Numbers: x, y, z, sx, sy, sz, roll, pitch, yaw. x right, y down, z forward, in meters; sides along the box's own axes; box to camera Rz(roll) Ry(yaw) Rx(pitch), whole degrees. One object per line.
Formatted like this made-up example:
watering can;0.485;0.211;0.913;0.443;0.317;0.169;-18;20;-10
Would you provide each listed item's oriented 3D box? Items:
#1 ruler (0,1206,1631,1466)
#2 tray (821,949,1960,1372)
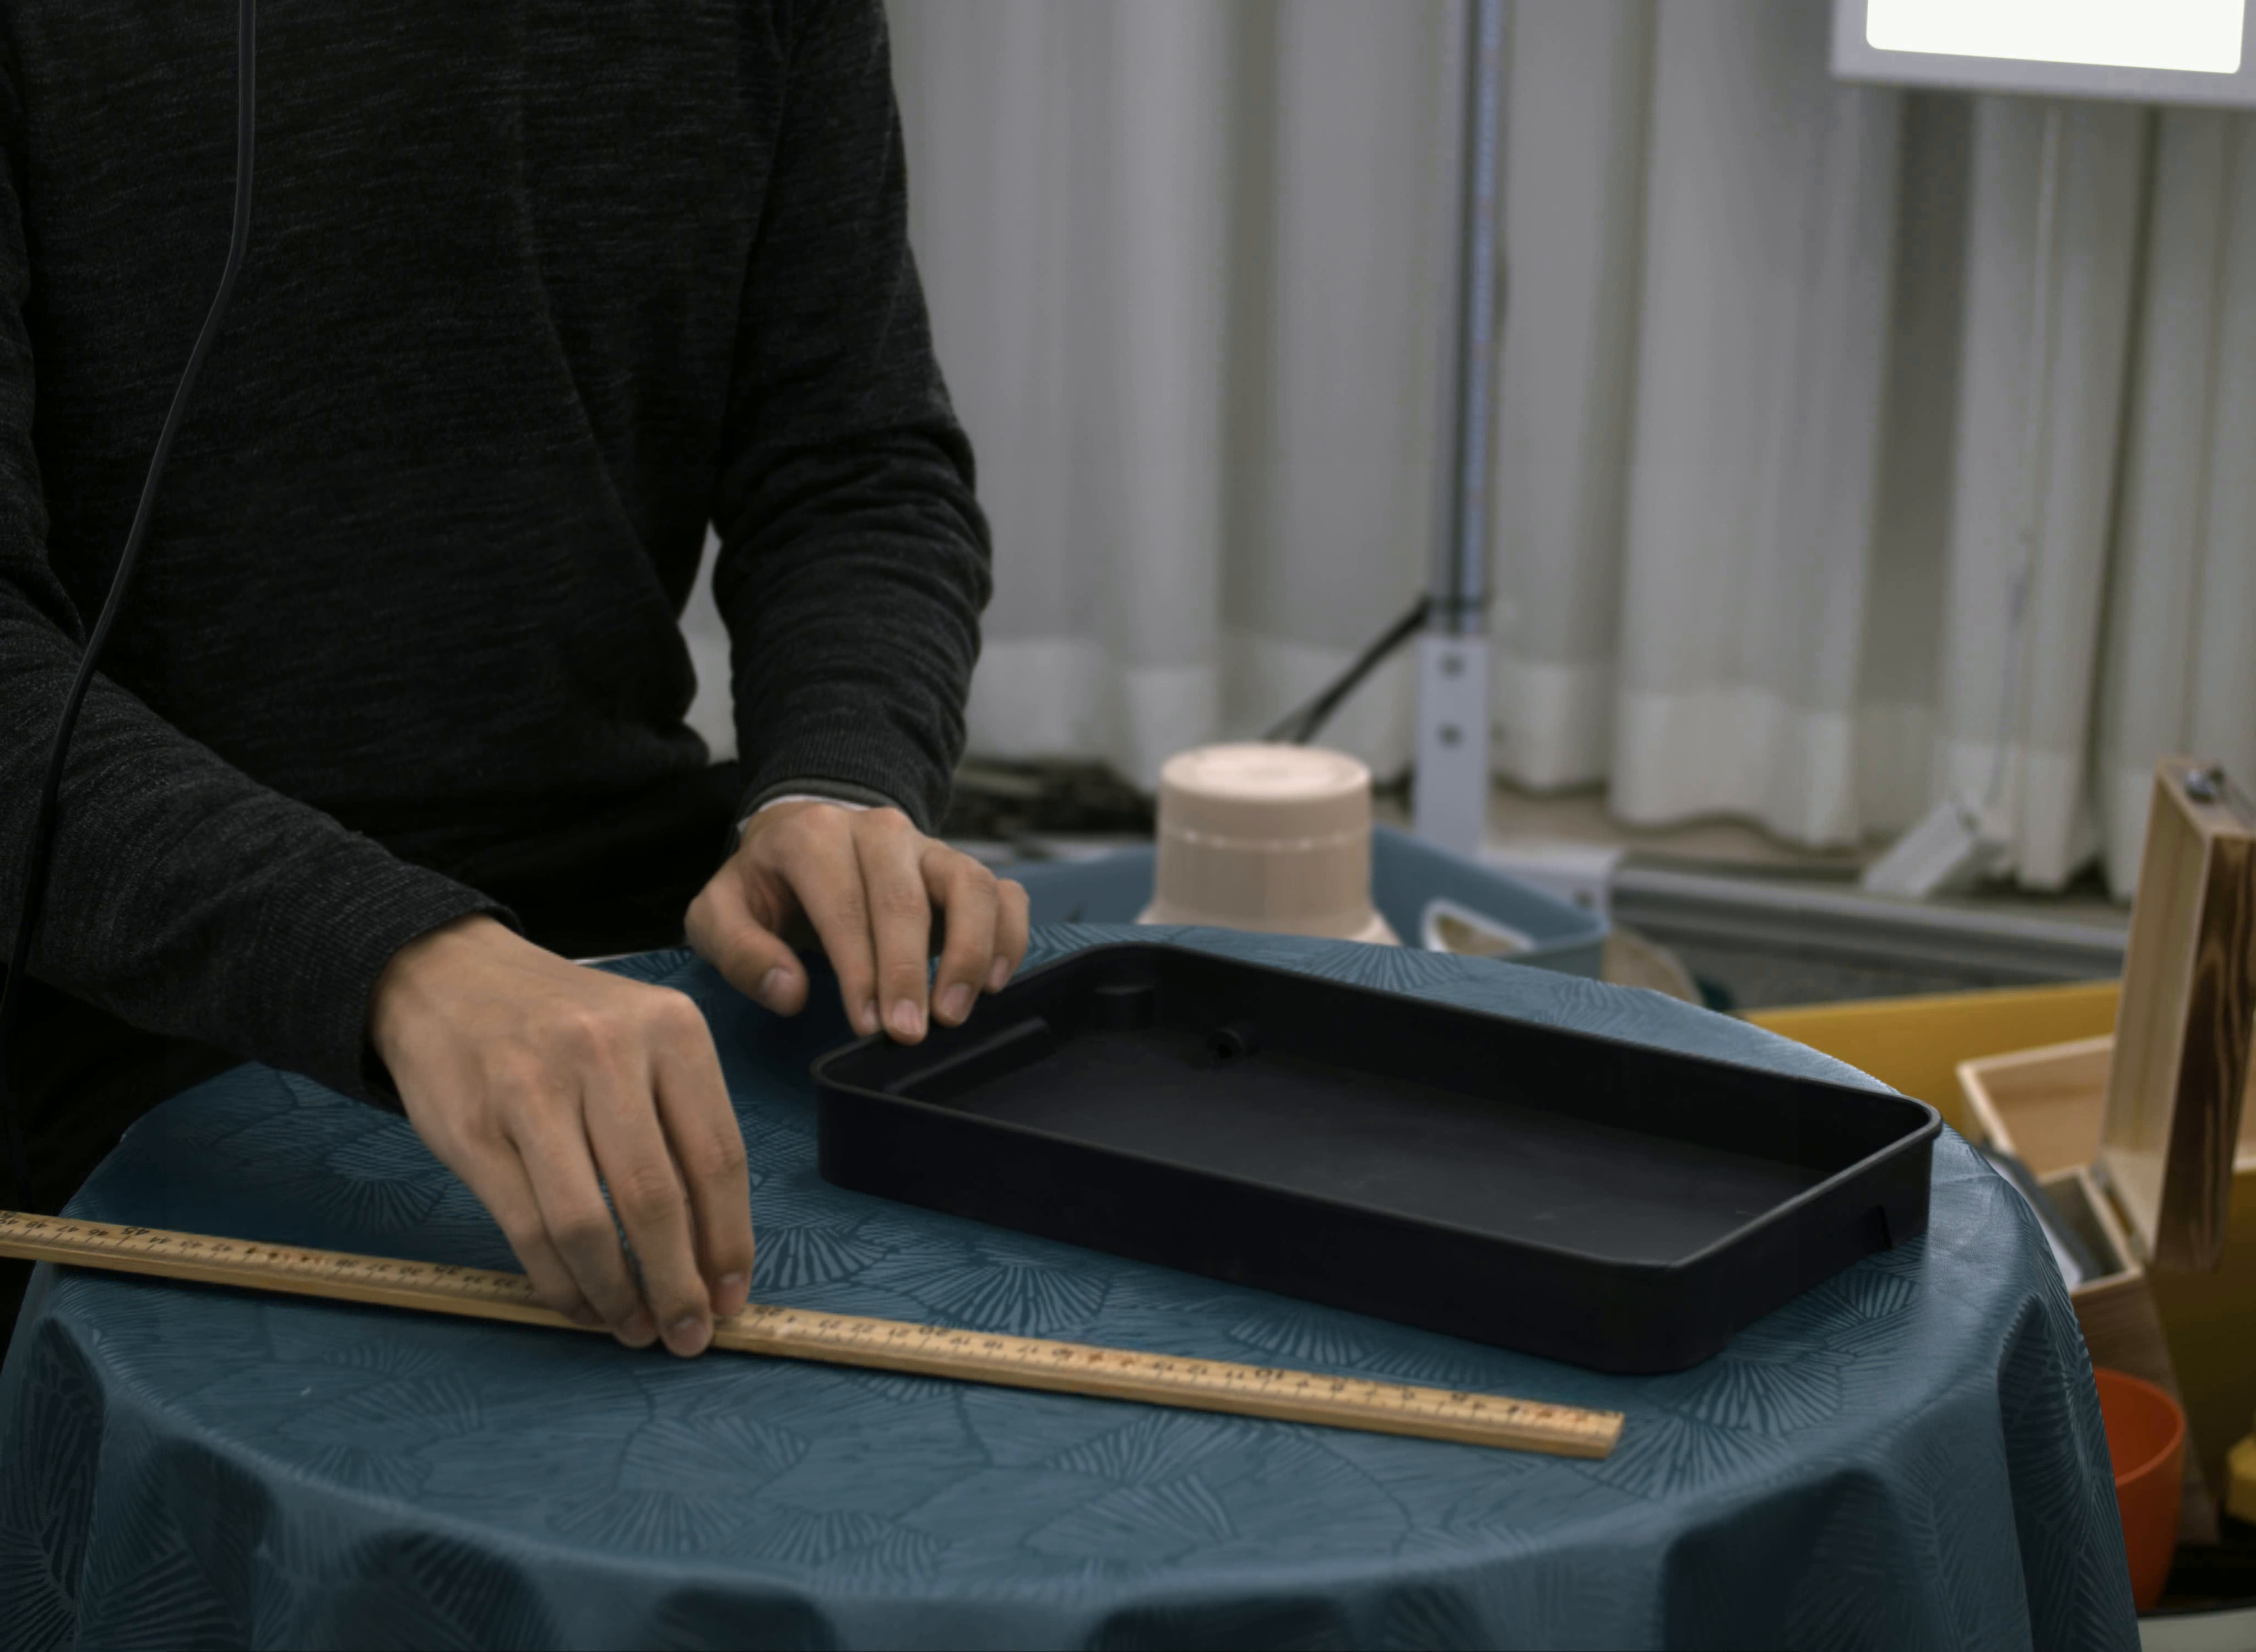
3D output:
ruler;-0.103;0.141;1.490;0.496;0.006;0.027;6;23;16
tray;0.078;0.097;1.610;0.314;0.037;0.185;10;18;32
